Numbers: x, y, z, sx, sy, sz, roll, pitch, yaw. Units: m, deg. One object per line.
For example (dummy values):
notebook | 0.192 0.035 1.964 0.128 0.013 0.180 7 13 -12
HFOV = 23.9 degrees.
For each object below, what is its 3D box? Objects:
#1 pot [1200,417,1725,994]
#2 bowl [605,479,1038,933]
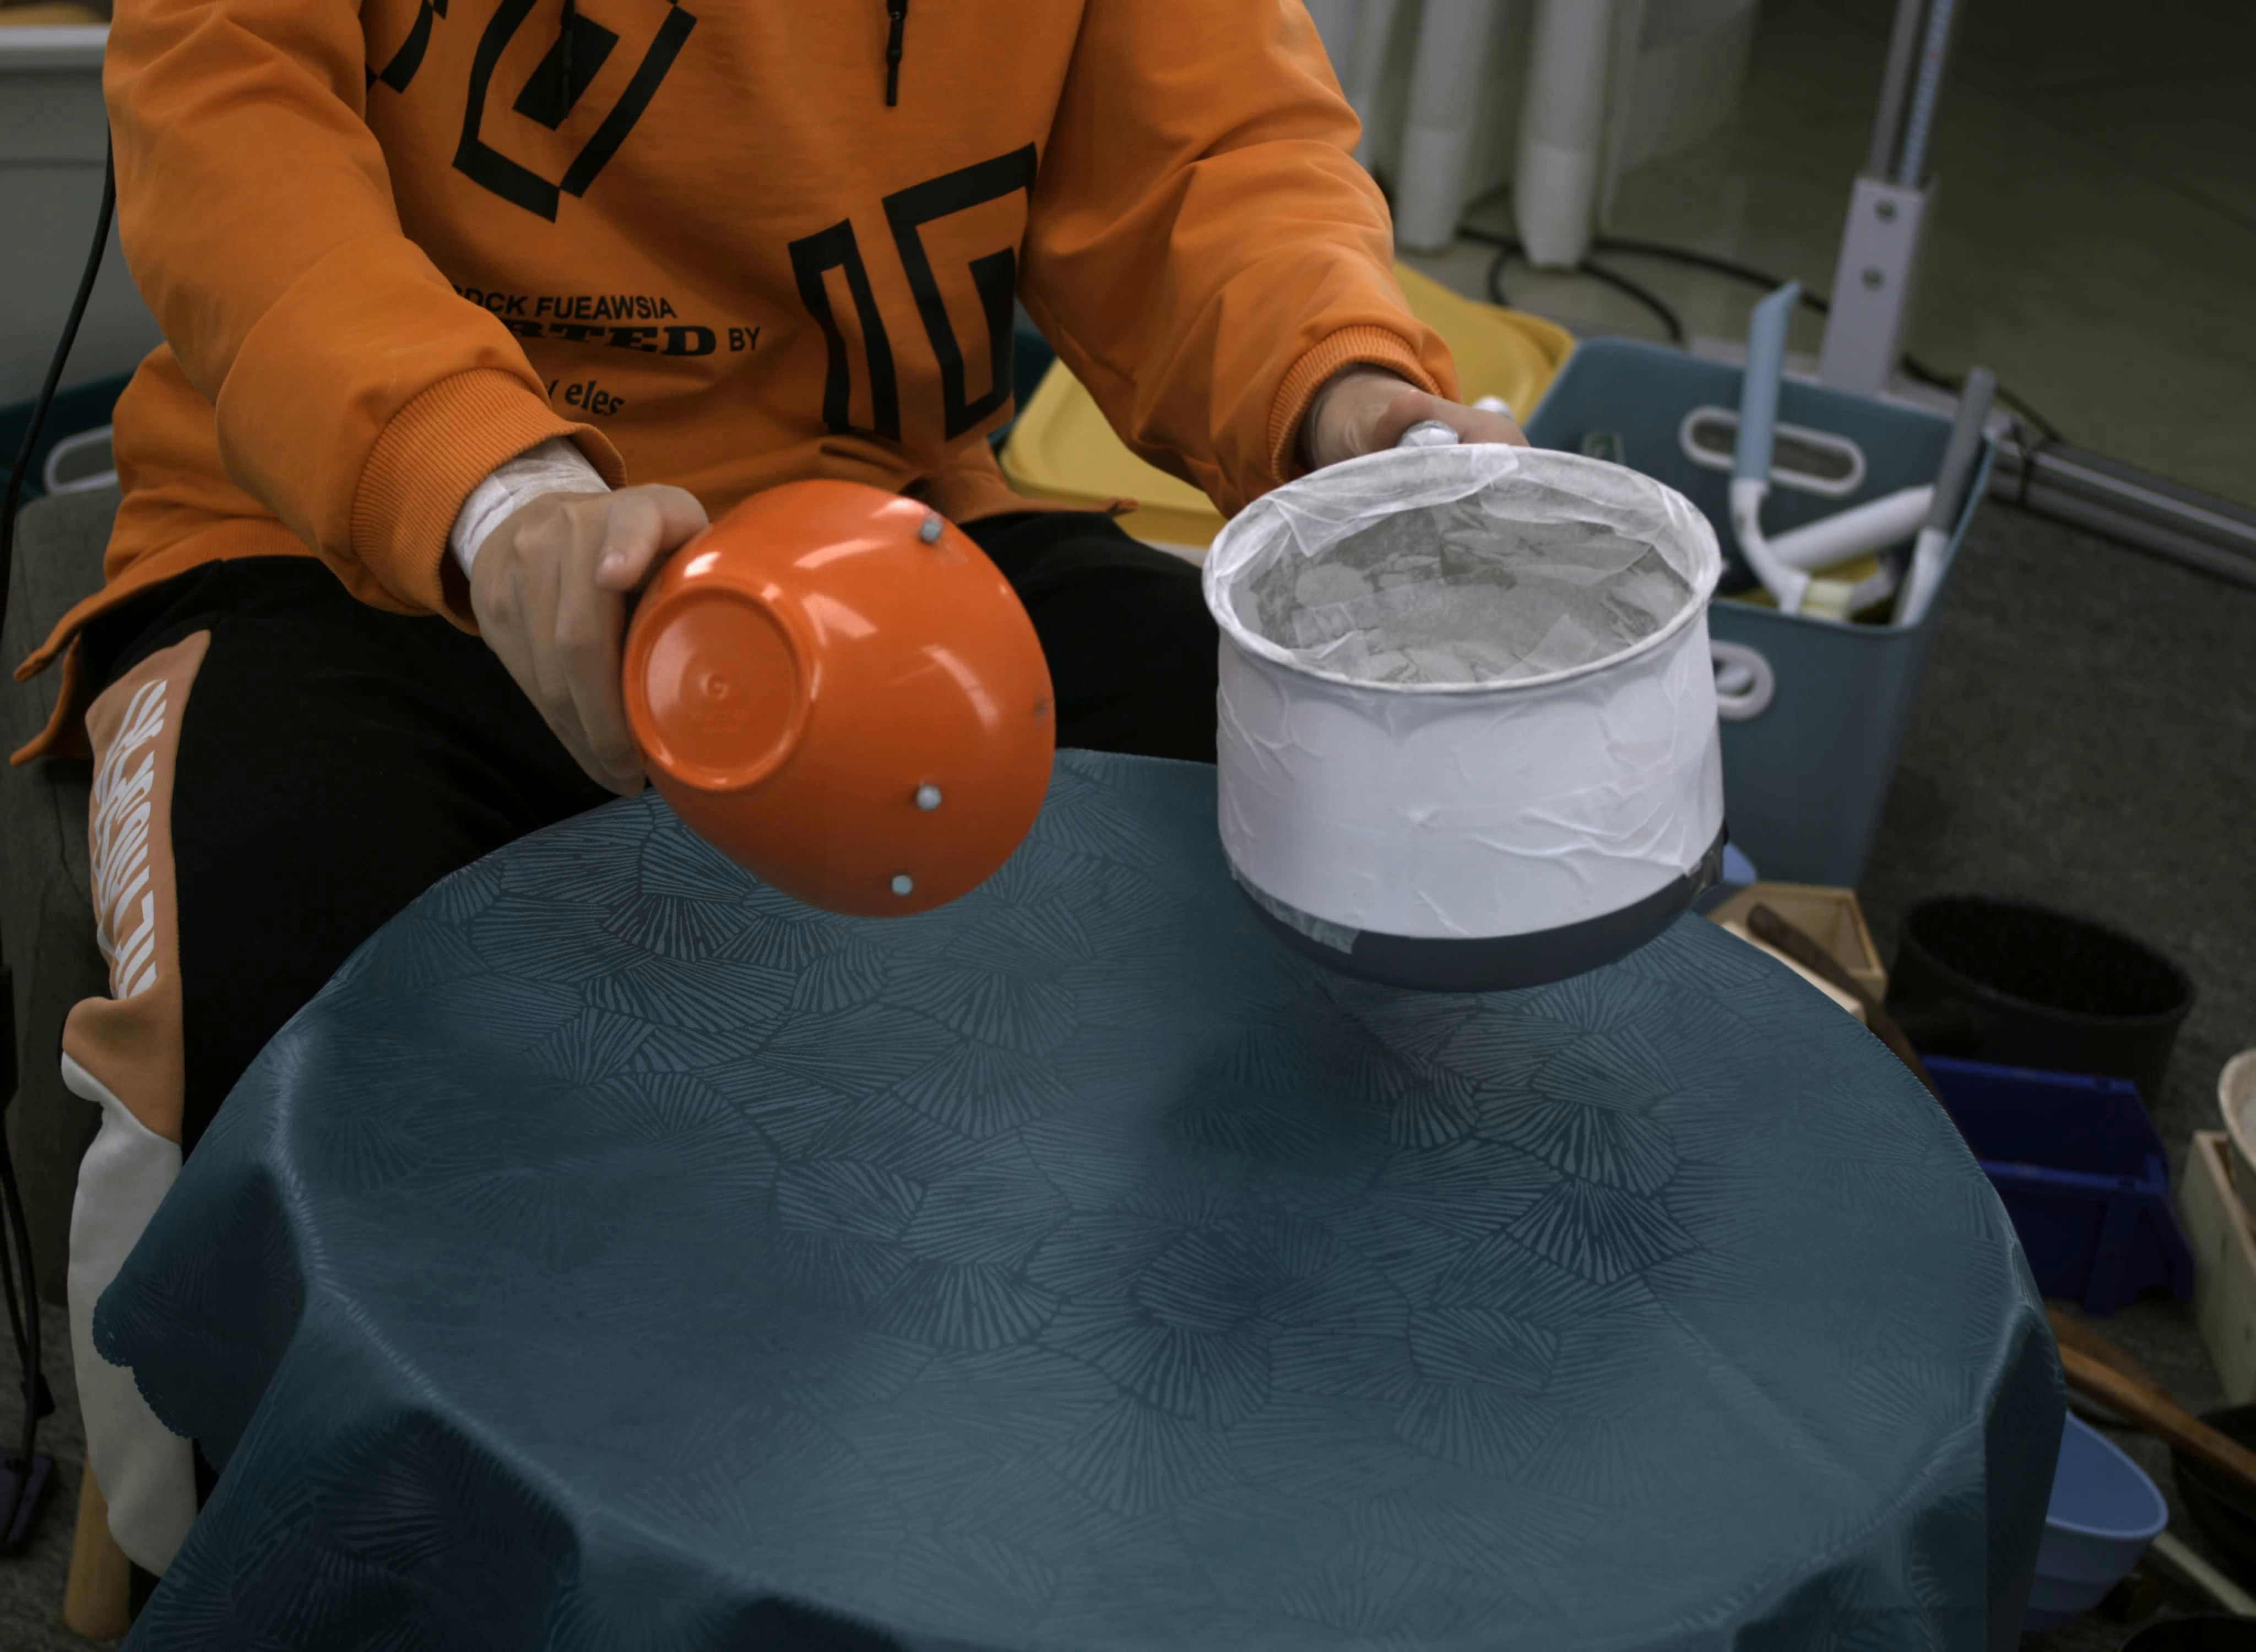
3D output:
pot | 0.114 -0.049 1.860 0.178 0.136 0.235 -5 30 -2
bowl | -0.112 -0.040 1.709 0.148 0.148 0.104 19 5 22
